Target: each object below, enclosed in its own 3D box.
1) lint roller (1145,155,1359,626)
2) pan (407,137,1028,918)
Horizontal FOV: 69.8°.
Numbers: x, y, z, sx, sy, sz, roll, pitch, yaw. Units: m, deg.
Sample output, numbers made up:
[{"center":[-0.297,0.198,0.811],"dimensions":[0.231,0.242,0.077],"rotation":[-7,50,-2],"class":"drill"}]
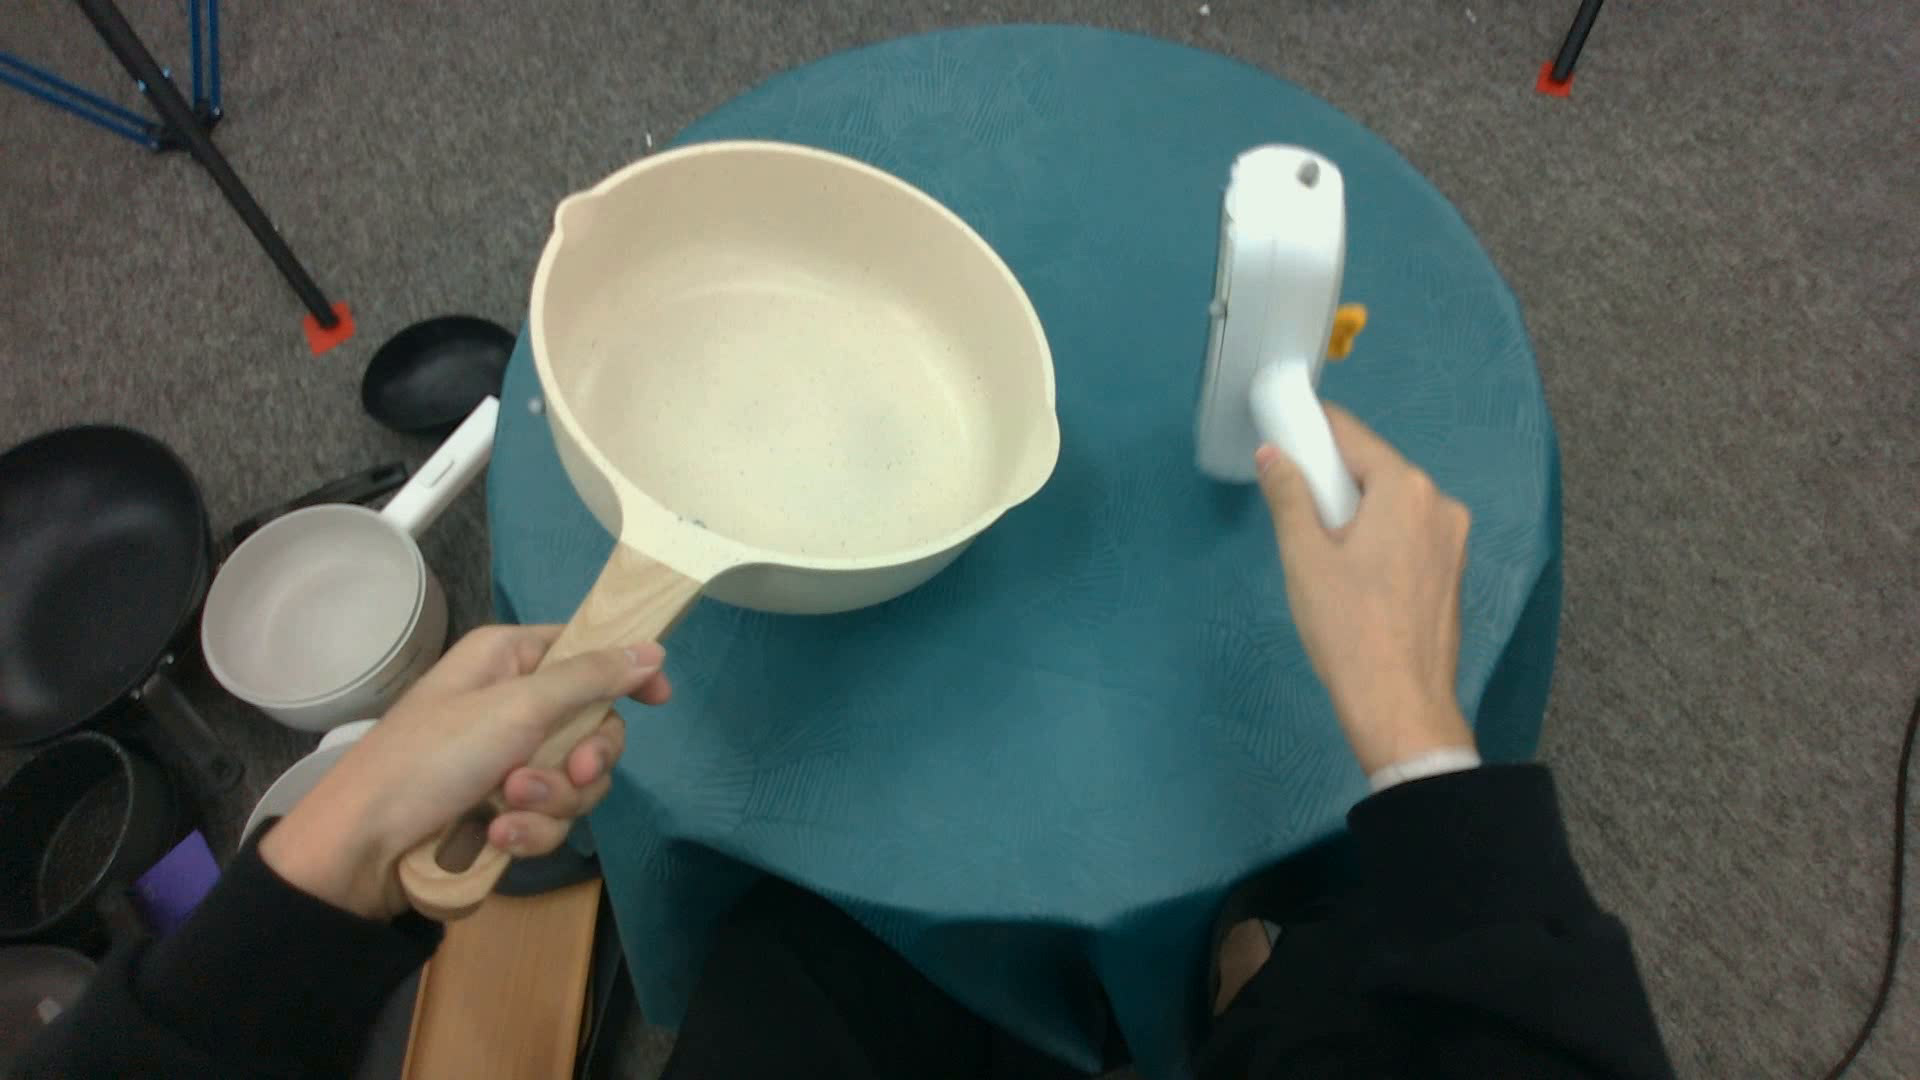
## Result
[{"center":[0.142,-0.051,0.645],"dimensions":[0.074,0.192,0.193],"rotation":[6,60,-11],"class":"lint roller"},{"center":[-0.126,-0.016,0.631],"dimensions":[0.263,0.101,0.437],"rotation":[26,53,-4],"class":"pan"}]
